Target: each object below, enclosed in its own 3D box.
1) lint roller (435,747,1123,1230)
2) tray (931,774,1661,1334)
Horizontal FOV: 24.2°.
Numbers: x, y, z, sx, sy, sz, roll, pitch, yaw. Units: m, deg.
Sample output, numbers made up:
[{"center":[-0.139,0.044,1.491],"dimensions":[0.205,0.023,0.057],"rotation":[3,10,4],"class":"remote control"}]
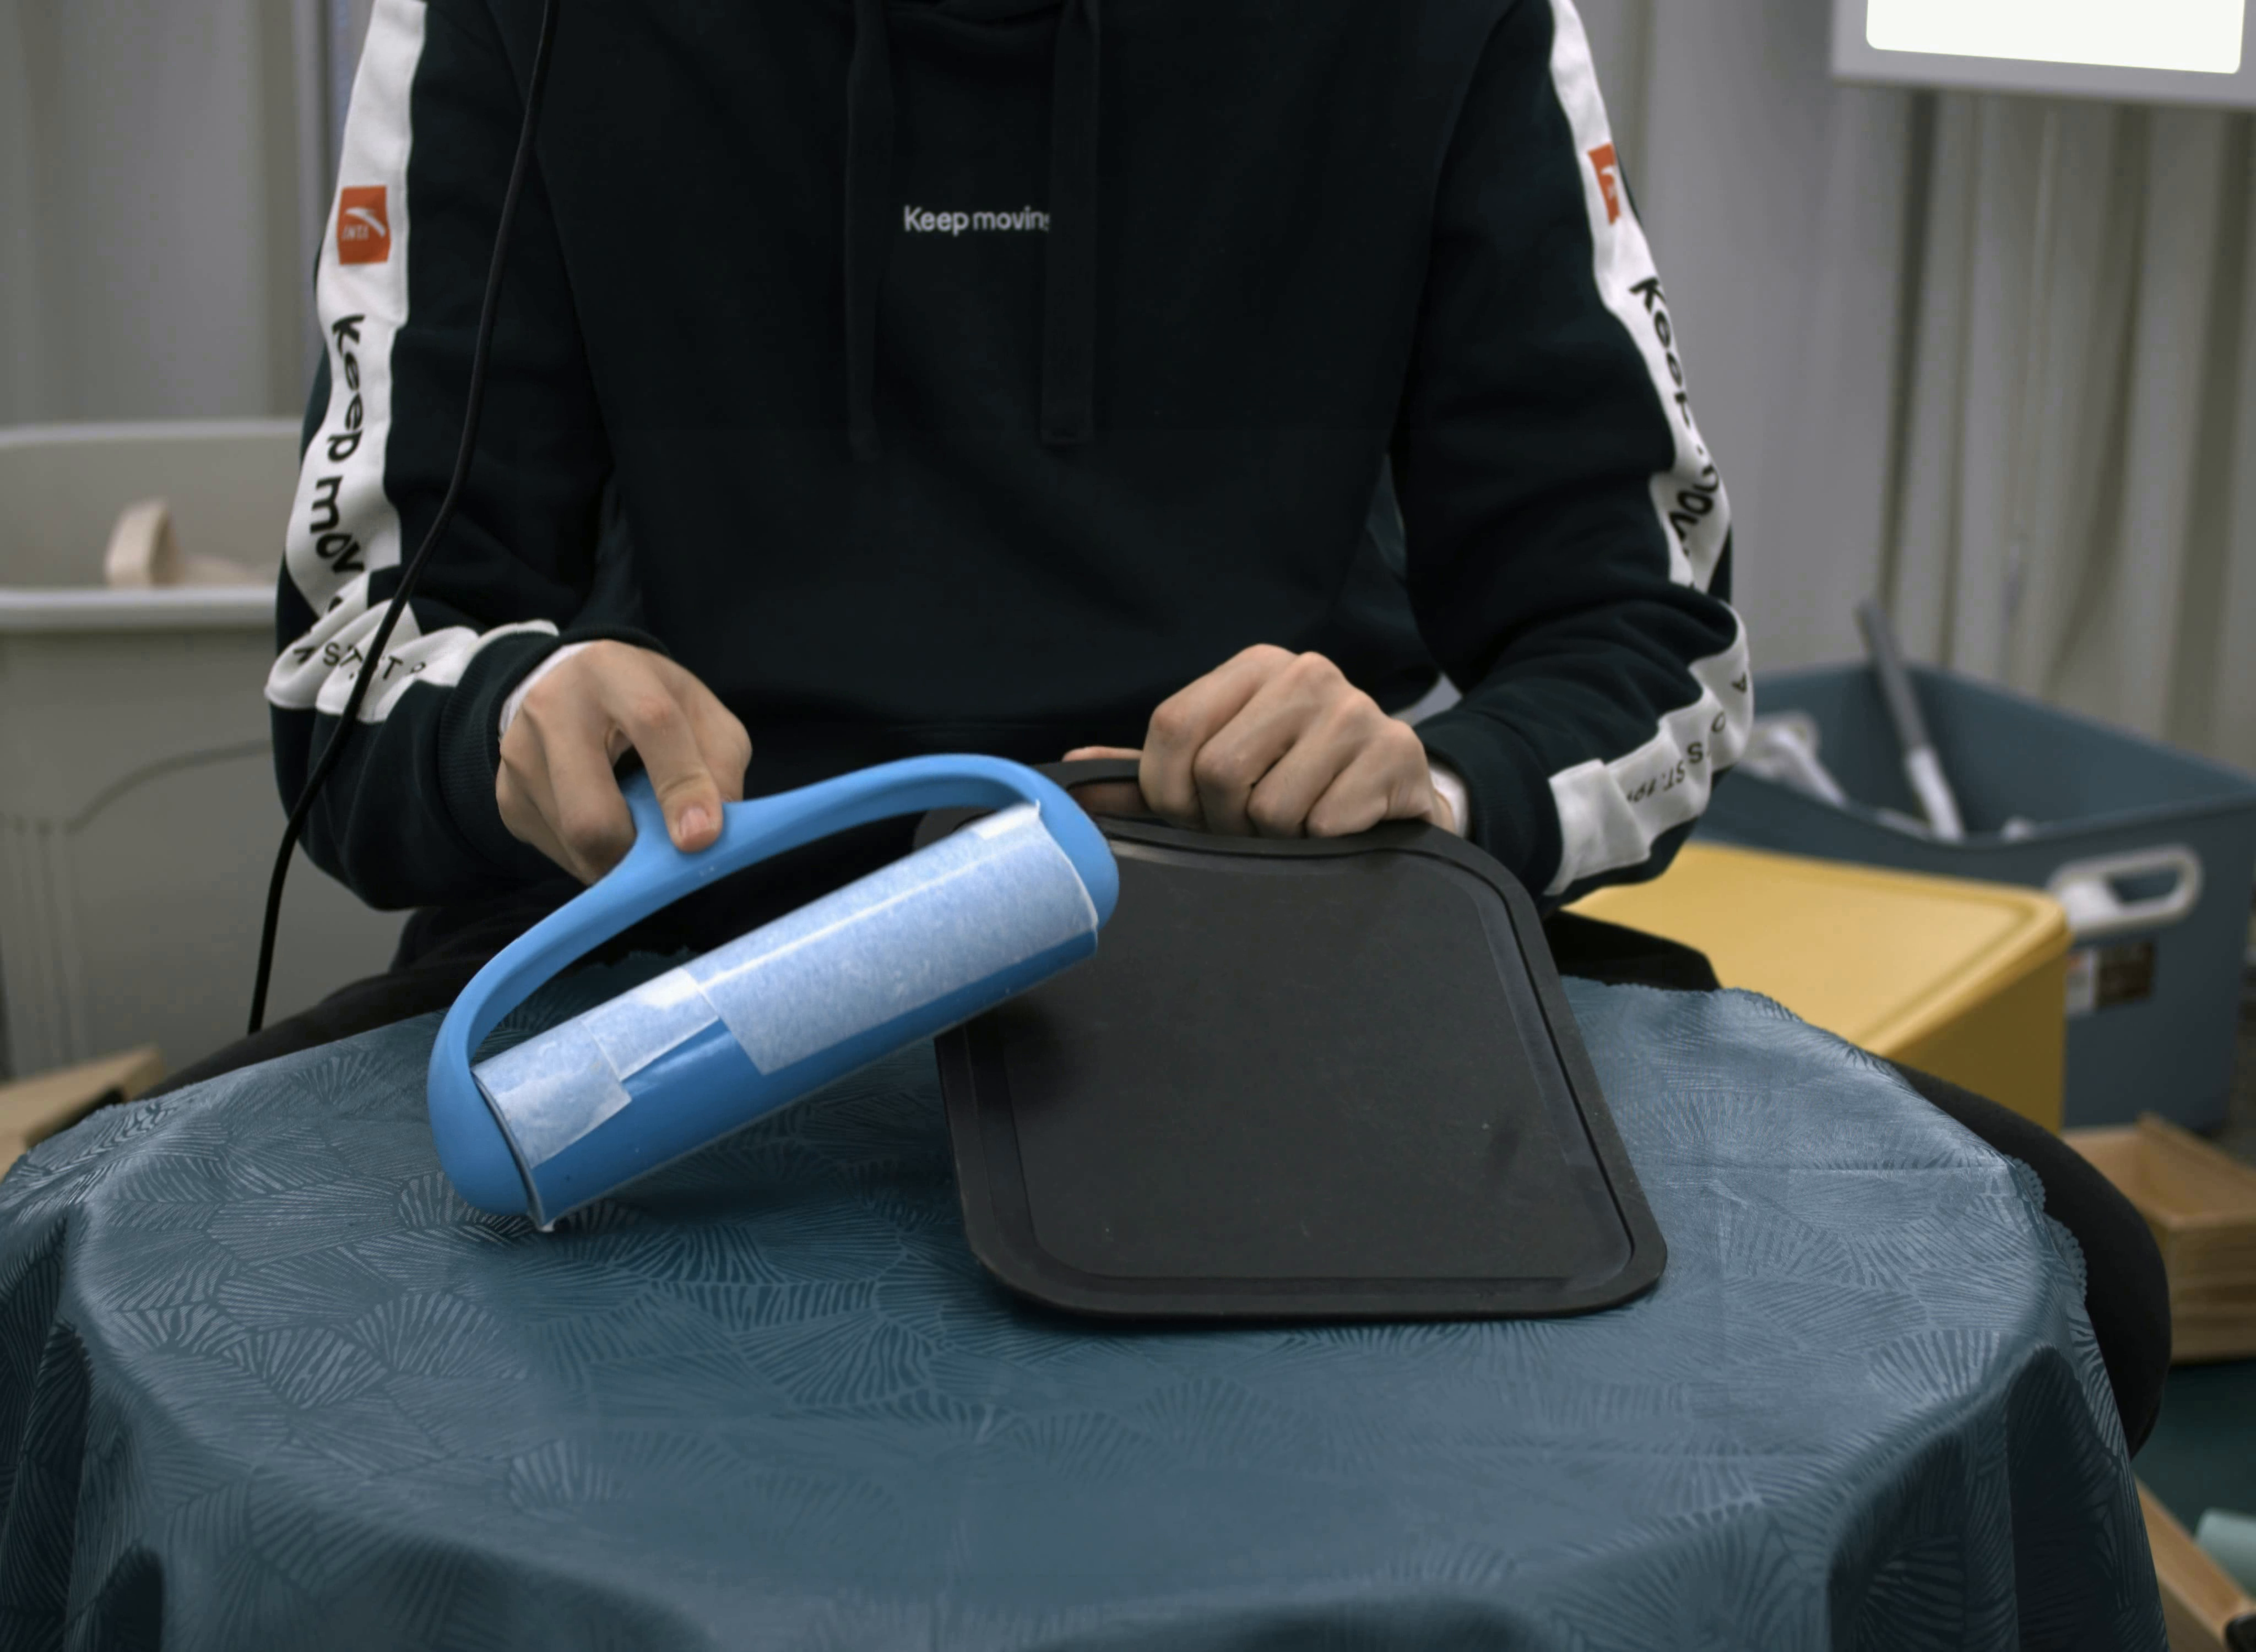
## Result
[{"center":[-0.134,0.024,1.643],"dimensions":[0.229,0.069,0.178],"rotation":[-30,46,-16],"class":"lint roller"},{"center":[0.042,0.062,1.644],"dimensions":[0.211,0.010,0.322],"rotation":[3,29,-9],"class":"tray"}]
